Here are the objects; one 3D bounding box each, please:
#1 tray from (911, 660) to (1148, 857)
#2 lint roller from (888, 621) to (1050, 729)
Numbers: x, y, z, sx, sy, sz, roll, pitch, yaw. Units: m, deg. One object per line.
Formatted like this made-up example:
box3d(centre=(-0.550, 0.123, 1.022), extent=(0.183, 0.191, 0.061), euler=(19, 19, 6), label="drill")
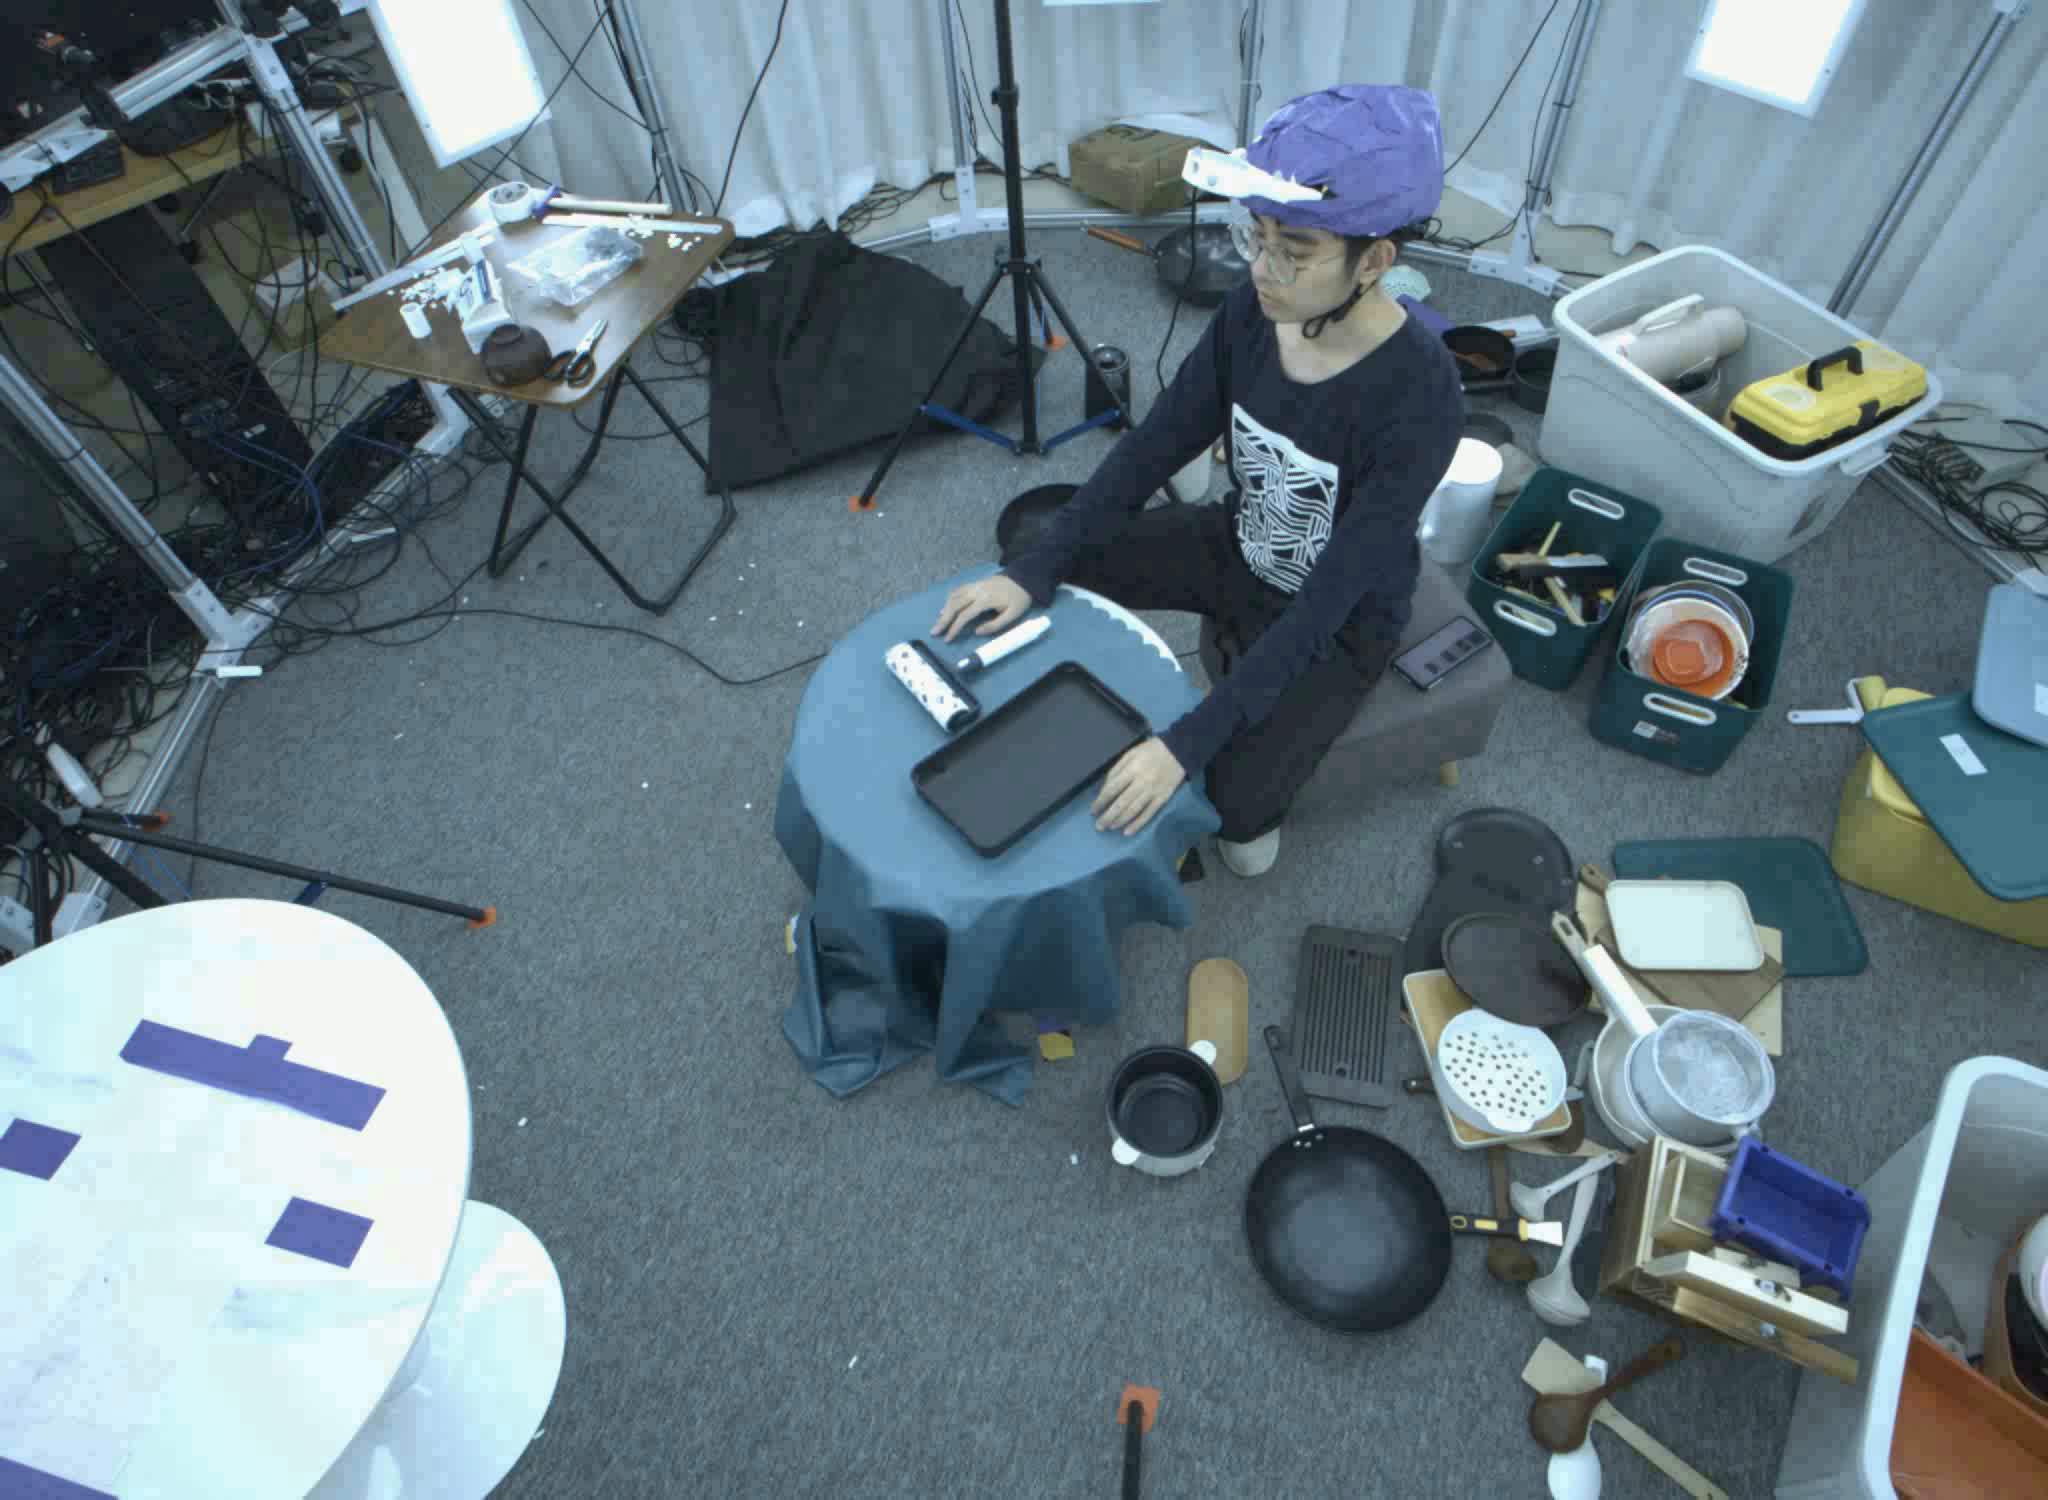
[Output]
box3d(centre=(0.010, 0.007, 1.768), extent=(0.320, 0.037, 0.181), euler=(-36, 61, -22), label="tray")
box3d(centre=(-0.064, -0.145, 1.876), extent=(0.249, 0.051, 0.173), euler=(-31, 59, -23), label="lint roller")
